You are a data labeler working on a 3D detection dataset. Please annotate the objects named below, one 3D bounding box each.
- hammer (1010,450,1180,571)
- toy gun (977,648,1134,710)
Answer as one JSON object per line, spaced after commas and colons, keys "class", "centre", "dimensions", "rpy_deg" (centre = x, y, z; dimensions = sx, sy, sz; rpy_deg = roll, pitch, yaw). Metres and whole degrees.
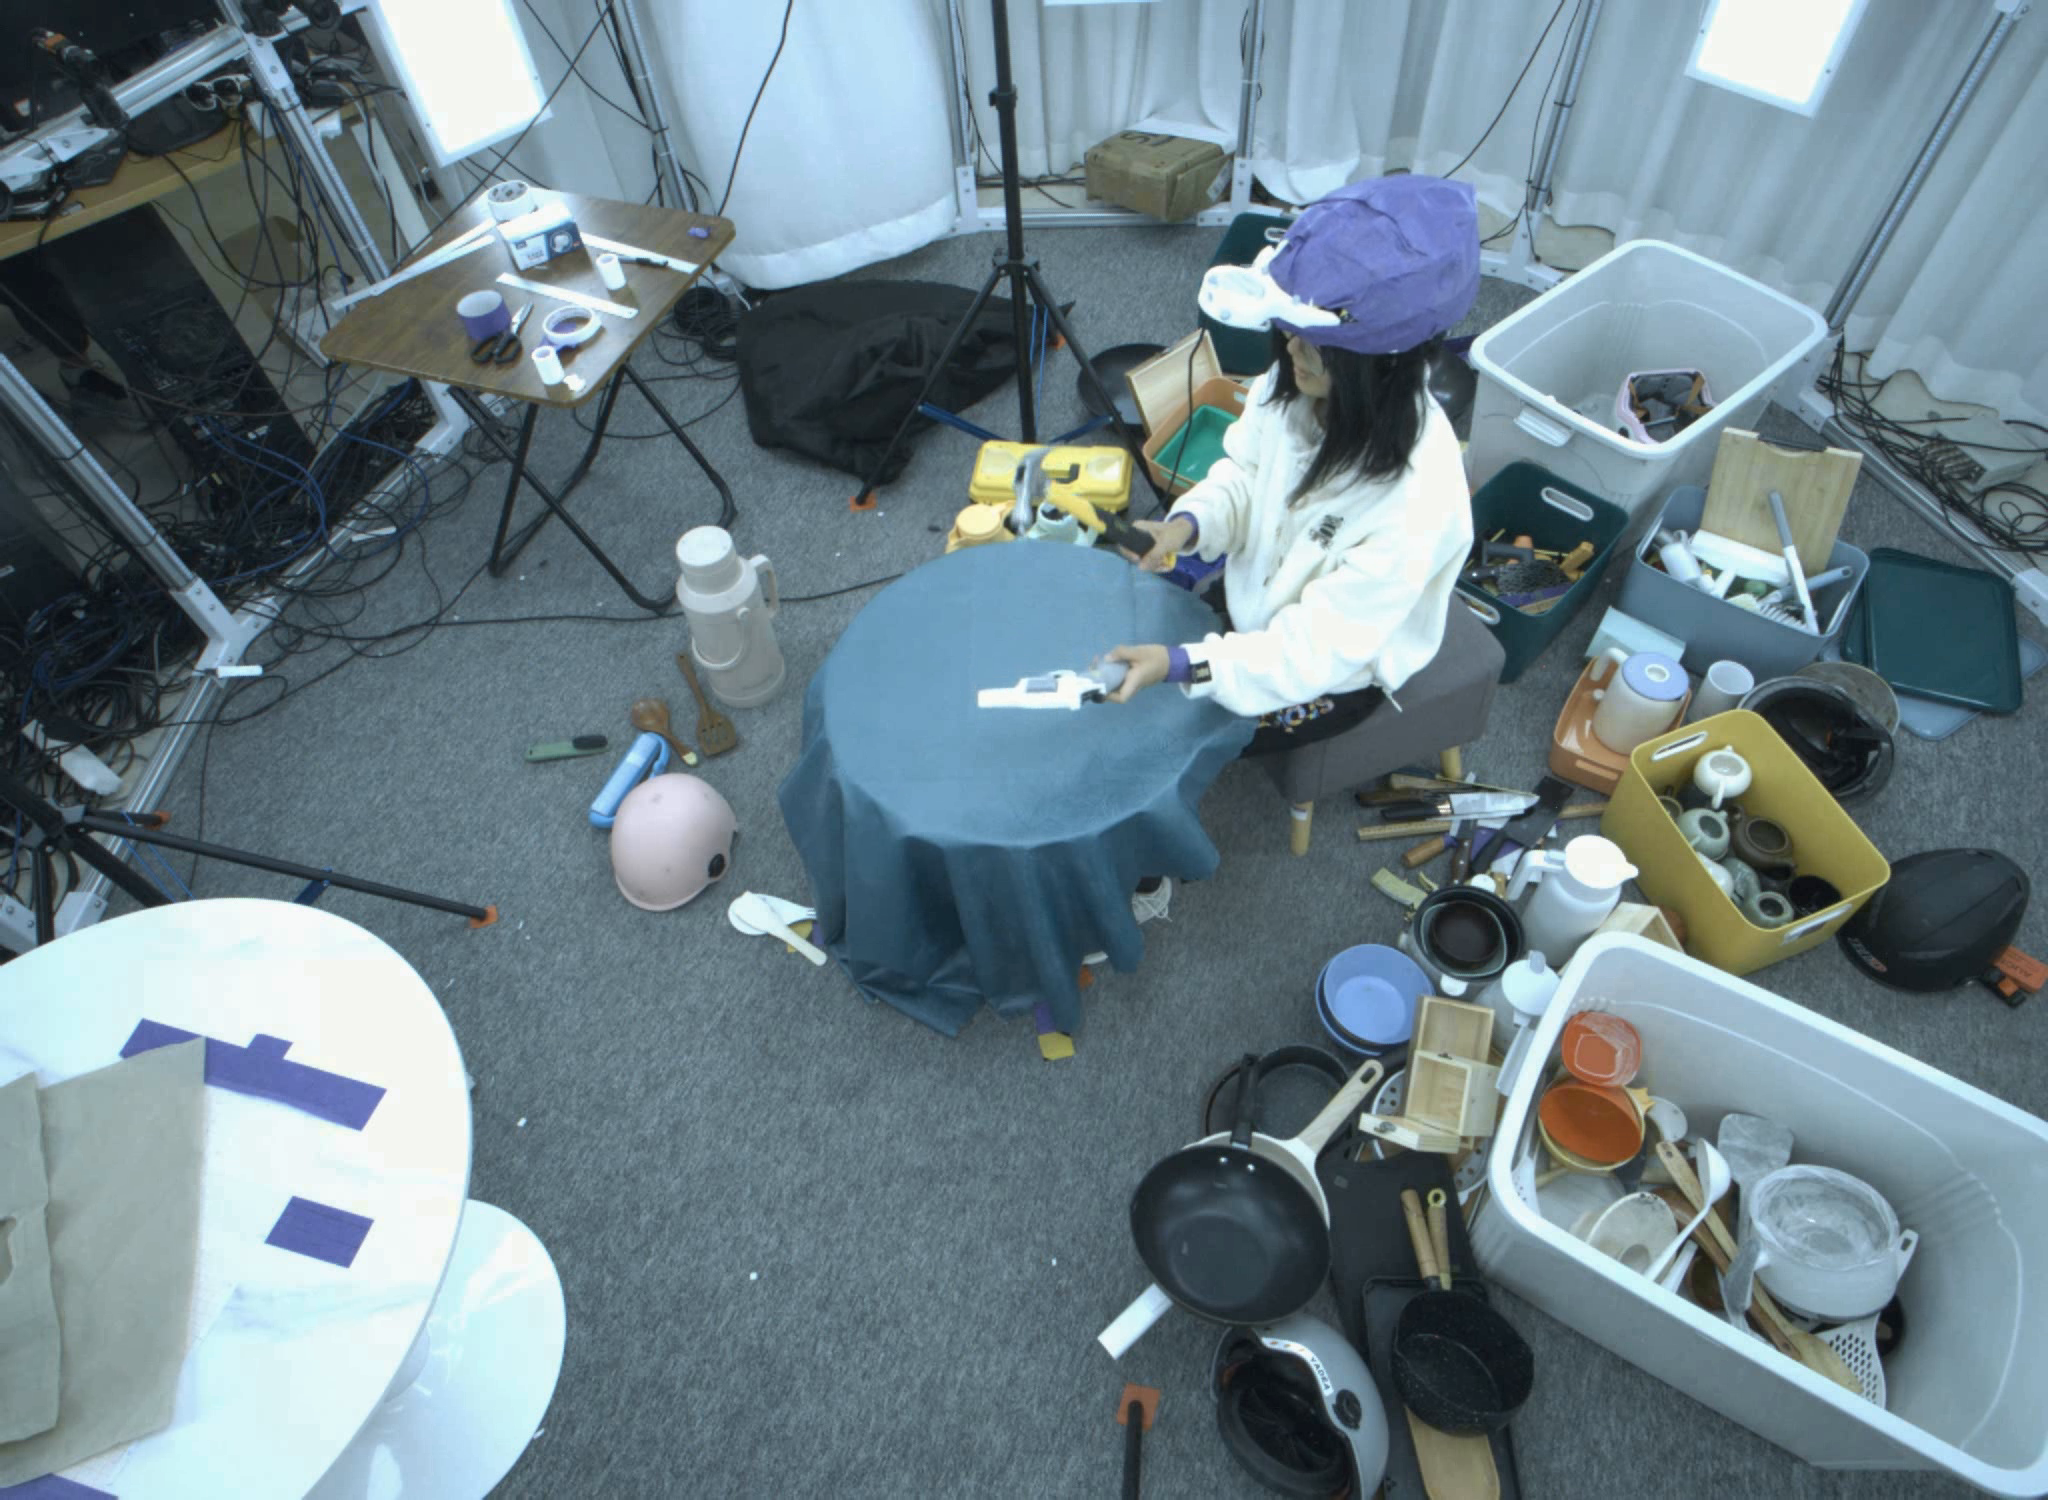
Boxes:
{"class": "hammer", "centre": [0.108, -0.313, 1.698], "dimensions": [0.031, 0.346, 0.131], "rpy_deg": [0, 80, 43]}
{"class": "toy gun", "centre": [0.045, -0.094, 1.674], "dimensions": [0.209, 0.039, 0.140], "rpy_deg": [-1, 29, 3]}
